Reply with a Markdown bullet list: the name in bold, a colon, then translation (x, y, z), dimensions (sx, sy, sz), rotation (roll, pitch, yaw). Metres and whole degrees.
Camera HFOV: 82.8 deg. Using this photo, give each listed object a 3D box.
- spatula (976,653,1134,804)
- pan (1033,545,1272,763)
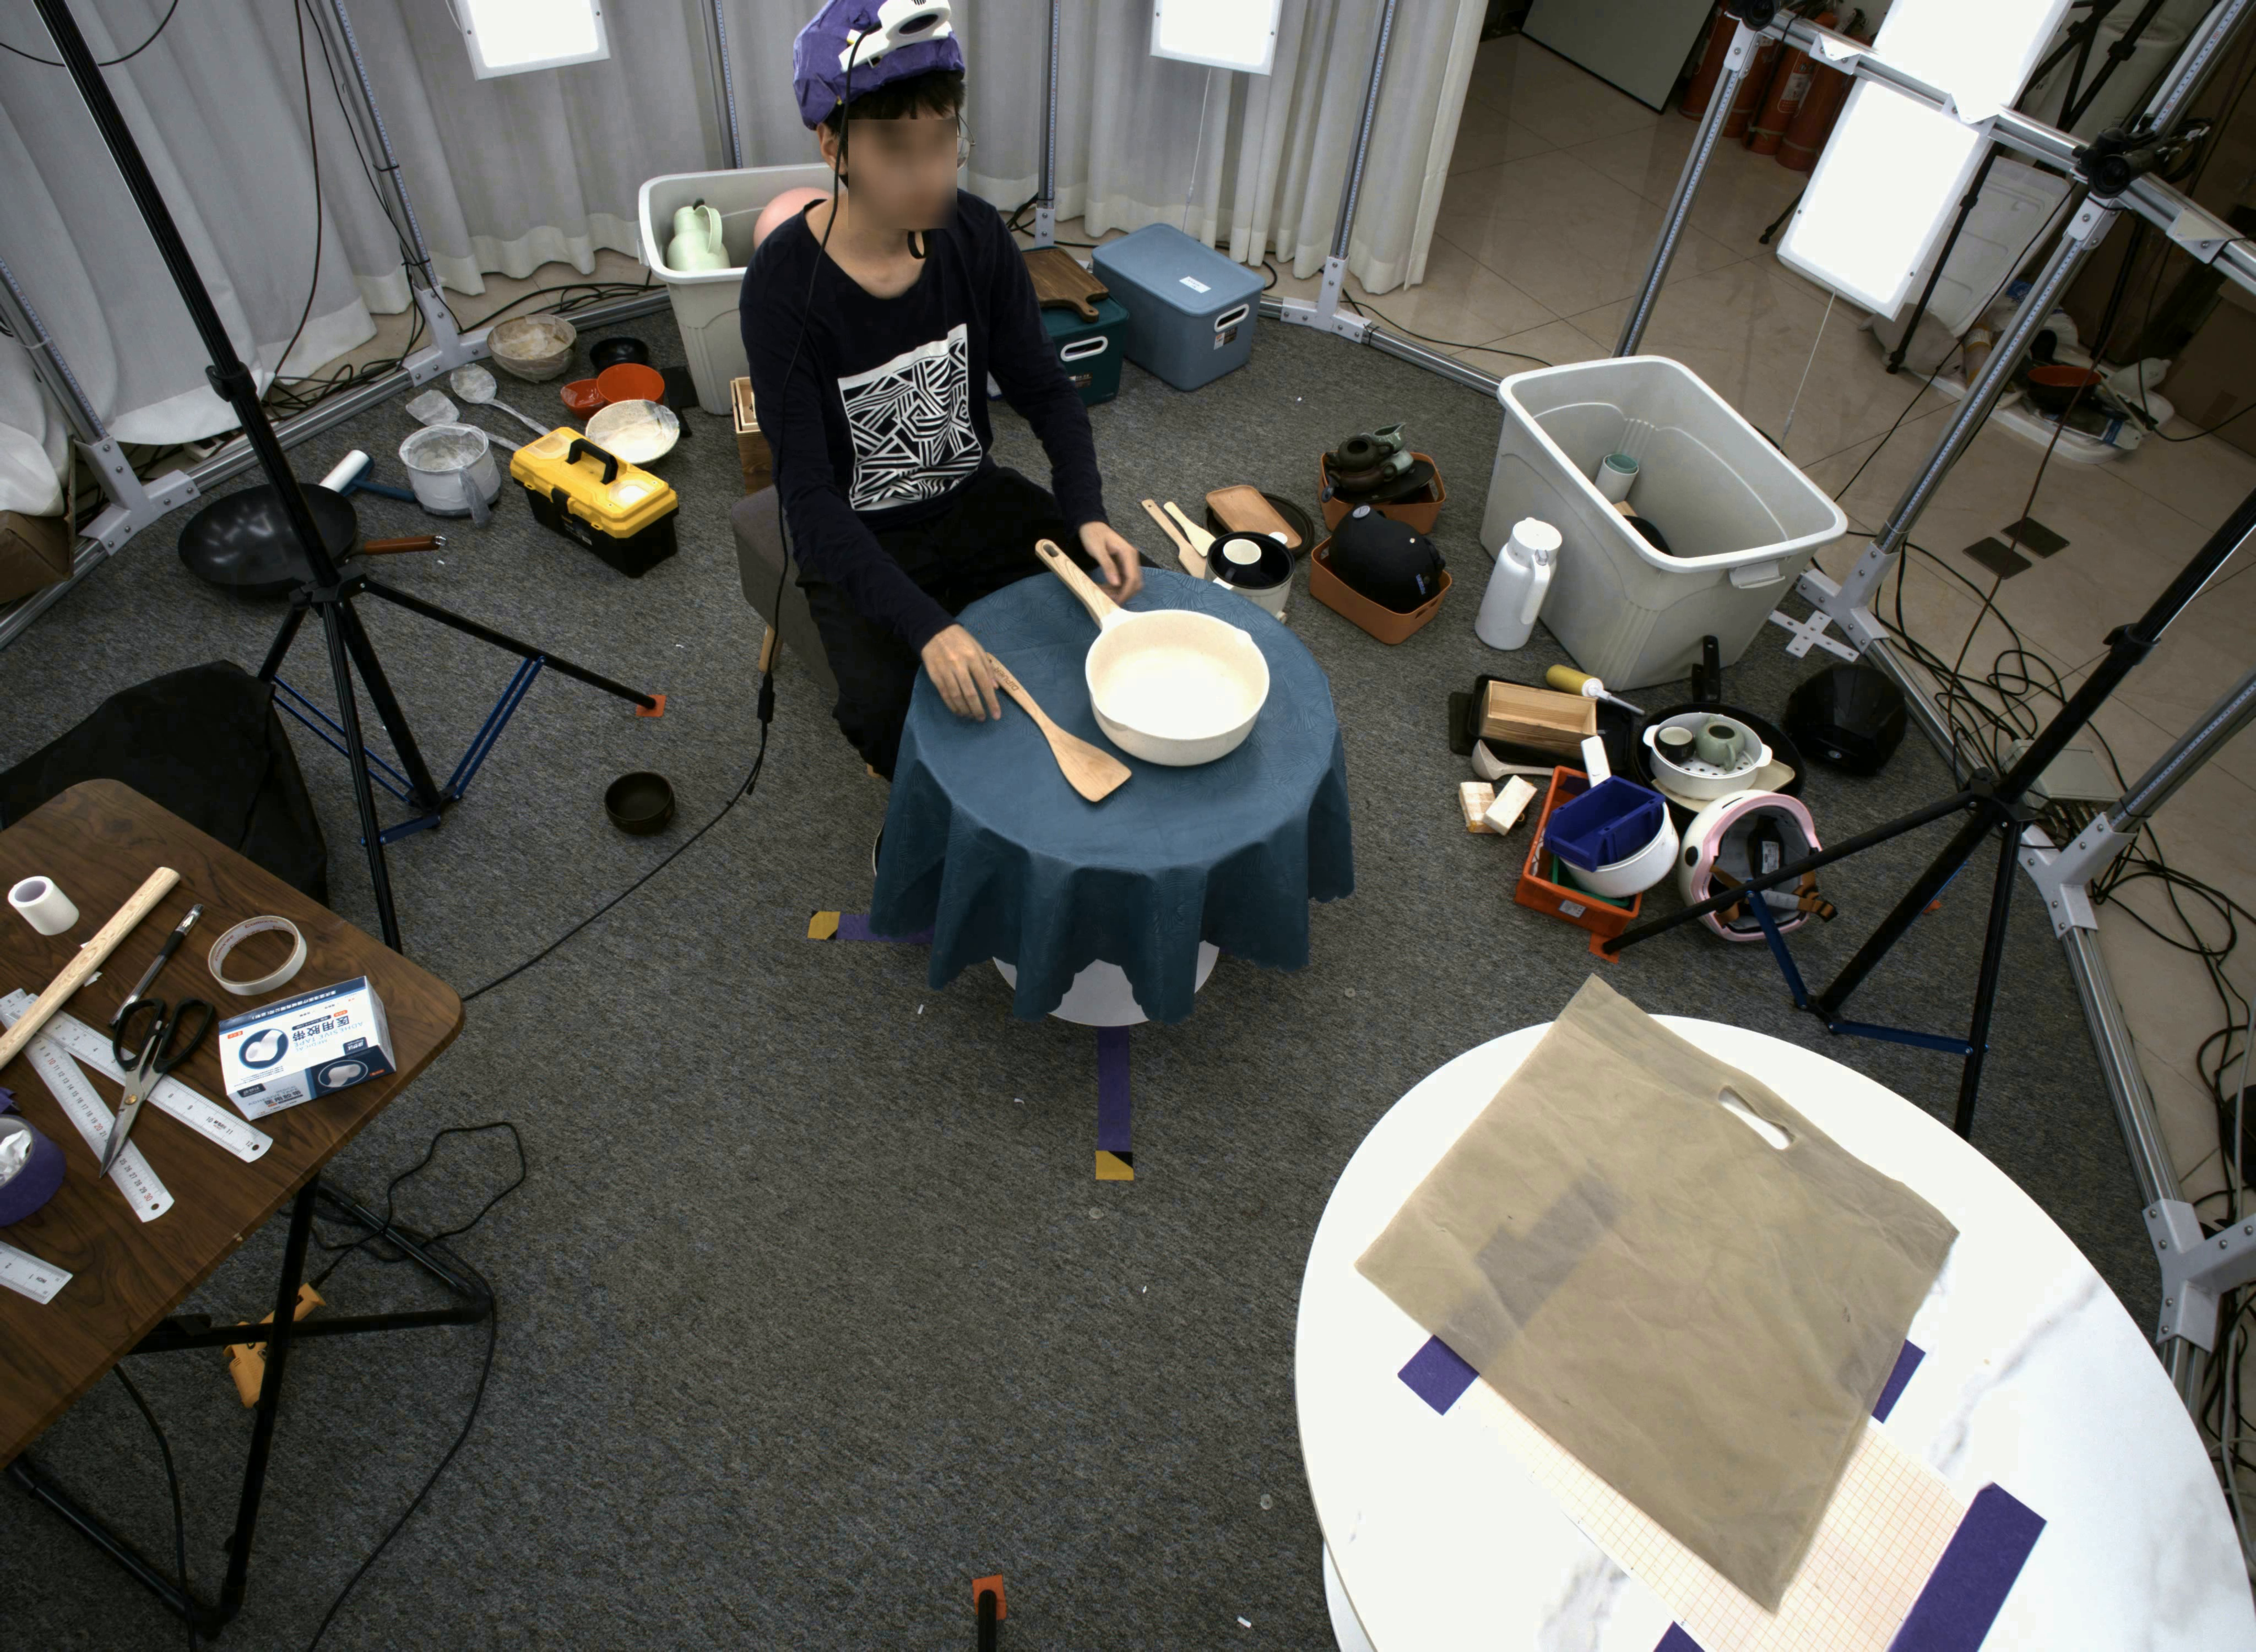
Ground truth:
- **spatula**: translation (-0.112, -0.145, 1.768), dimensions (0.080, 0.016, 0.333), rotation (-28, 57, -26)
- **pan**: translation (0.010, -0.248, 1.815), dimensions (0.265, 0.099, 0.442), rotation (-31, 57, -26)
